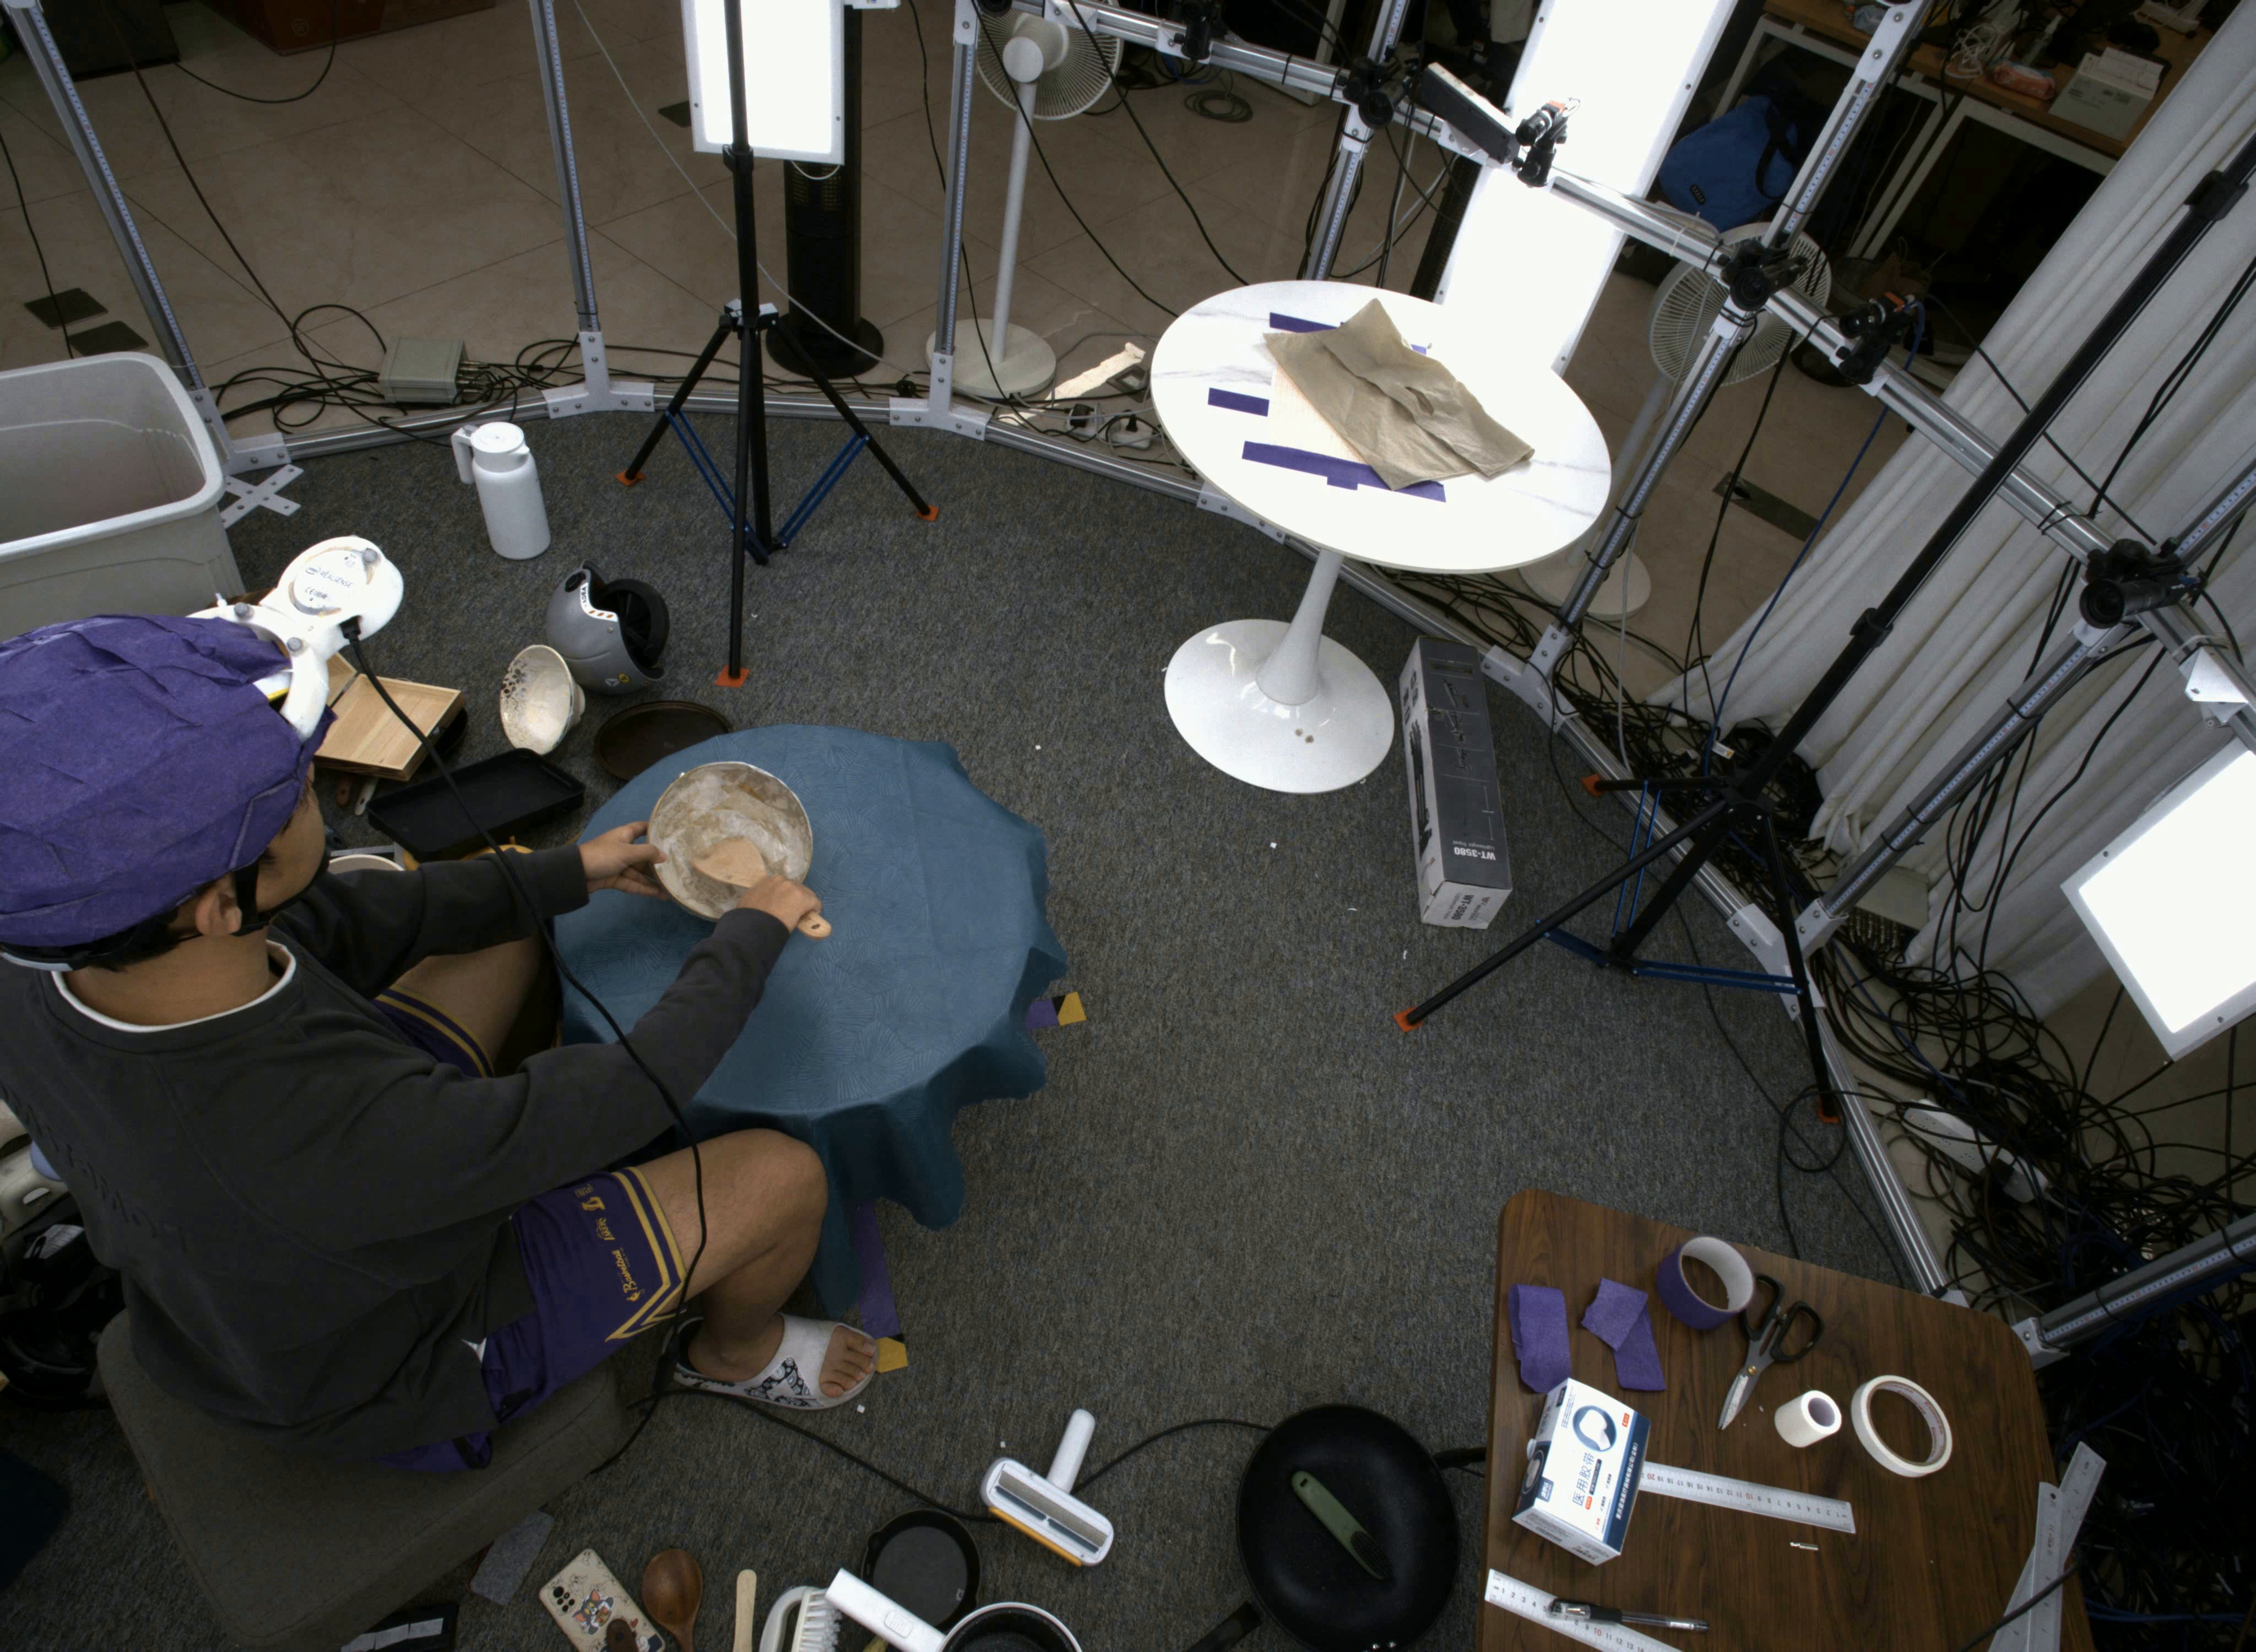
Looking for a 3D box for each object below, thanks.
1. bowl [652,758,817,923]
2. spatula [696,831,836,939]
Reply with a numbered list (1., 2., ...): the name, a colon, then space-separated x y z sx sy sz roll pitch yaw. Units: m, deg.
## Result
1. bowl: -0.500 0.027 1.612 0.218 0.093 0.214 10 72 -29
2. spatula: -0.424 0.069 1.530 0.080 0.017 0.315 -26 31 -30
